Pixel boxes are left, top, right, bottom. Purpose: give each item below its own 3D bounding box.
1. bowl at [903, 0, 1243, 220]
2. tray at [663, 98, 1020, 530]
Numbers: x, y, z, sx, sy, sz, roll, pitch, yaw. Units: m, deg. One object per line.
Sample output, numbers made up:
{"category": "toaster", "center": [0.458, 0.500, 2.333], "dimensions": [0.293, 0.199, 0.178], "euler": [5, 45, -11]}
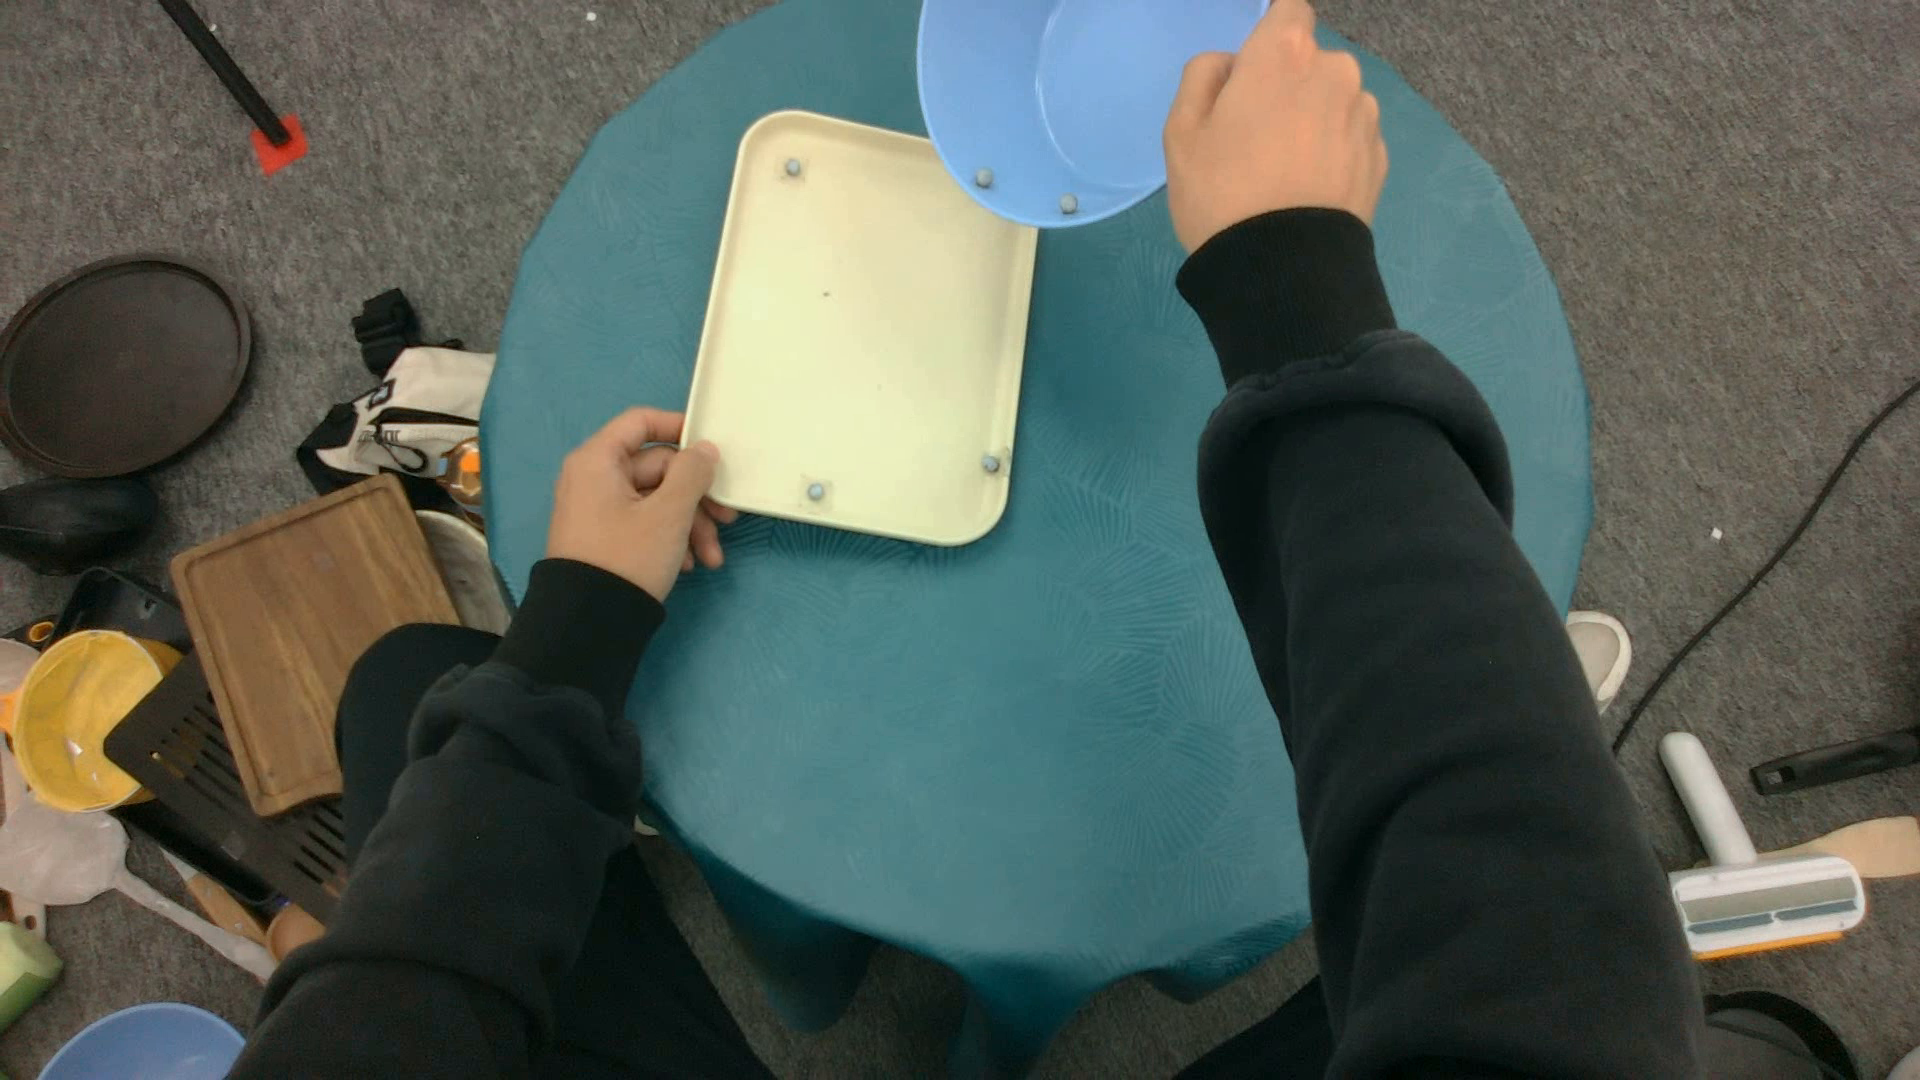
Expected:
{"category": "bowl", "center": [0.061, -0.230, 0.628], "dimensions": [0.175, 0.070, 0.176], "euler": [1, 91, 37]}
{"category": "tray", "center": [-0.058, -0.124, 0.741], "dimensions": [0.171, 0.017, 0.240], "euler": [10, 70, -7]}
